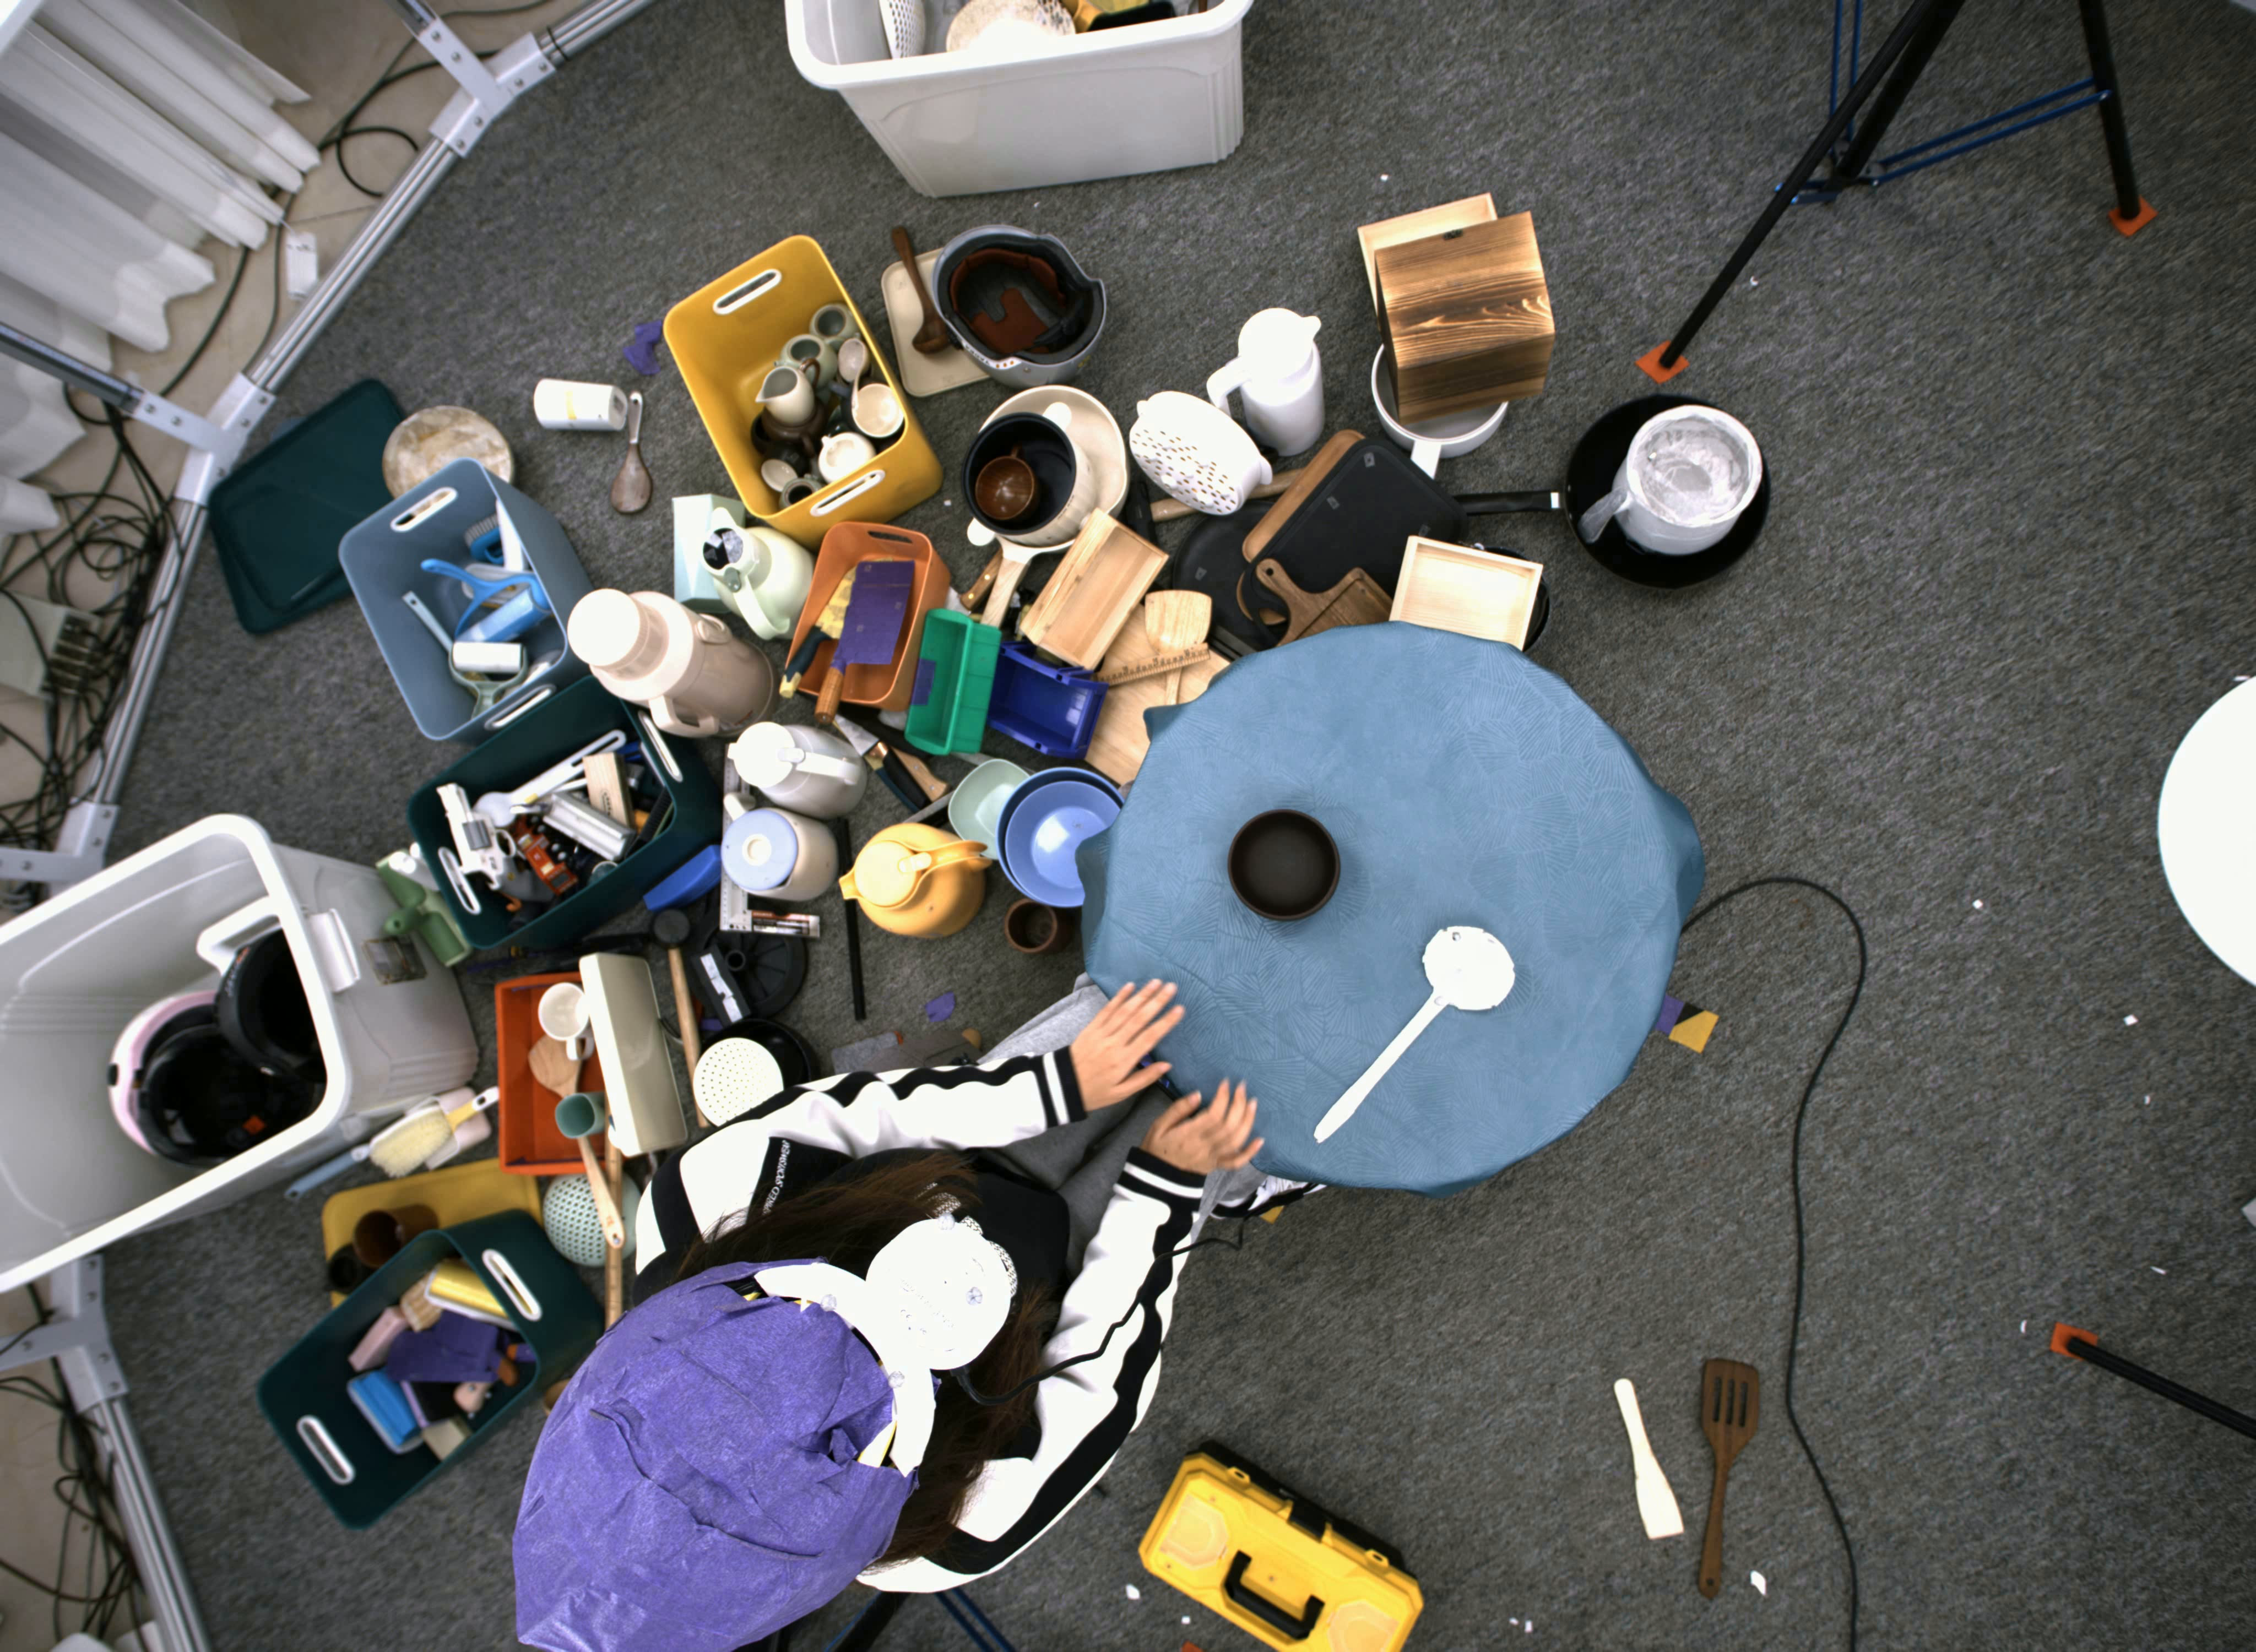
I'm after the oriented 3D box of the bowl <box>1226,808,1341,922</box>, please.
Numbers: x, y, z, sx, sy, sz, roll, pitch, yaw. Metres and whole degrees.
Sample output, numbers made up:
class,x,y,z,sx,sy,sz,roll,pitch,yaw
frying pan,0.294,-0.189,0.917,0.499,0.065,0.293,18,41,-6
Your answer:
class,x,y,z,sx,sy,sz,roll,pitch,yaw
bowl,0.163,0.042,1.444,0.118,0.070,0.117,-1,86,10

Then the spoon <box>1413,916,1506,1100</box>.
class,x,y,z,sx,sy,sz,roll,pitch,yaw
spoon,0.363,0.203,1.492,0.100,0.283,0.058,20,59,31
